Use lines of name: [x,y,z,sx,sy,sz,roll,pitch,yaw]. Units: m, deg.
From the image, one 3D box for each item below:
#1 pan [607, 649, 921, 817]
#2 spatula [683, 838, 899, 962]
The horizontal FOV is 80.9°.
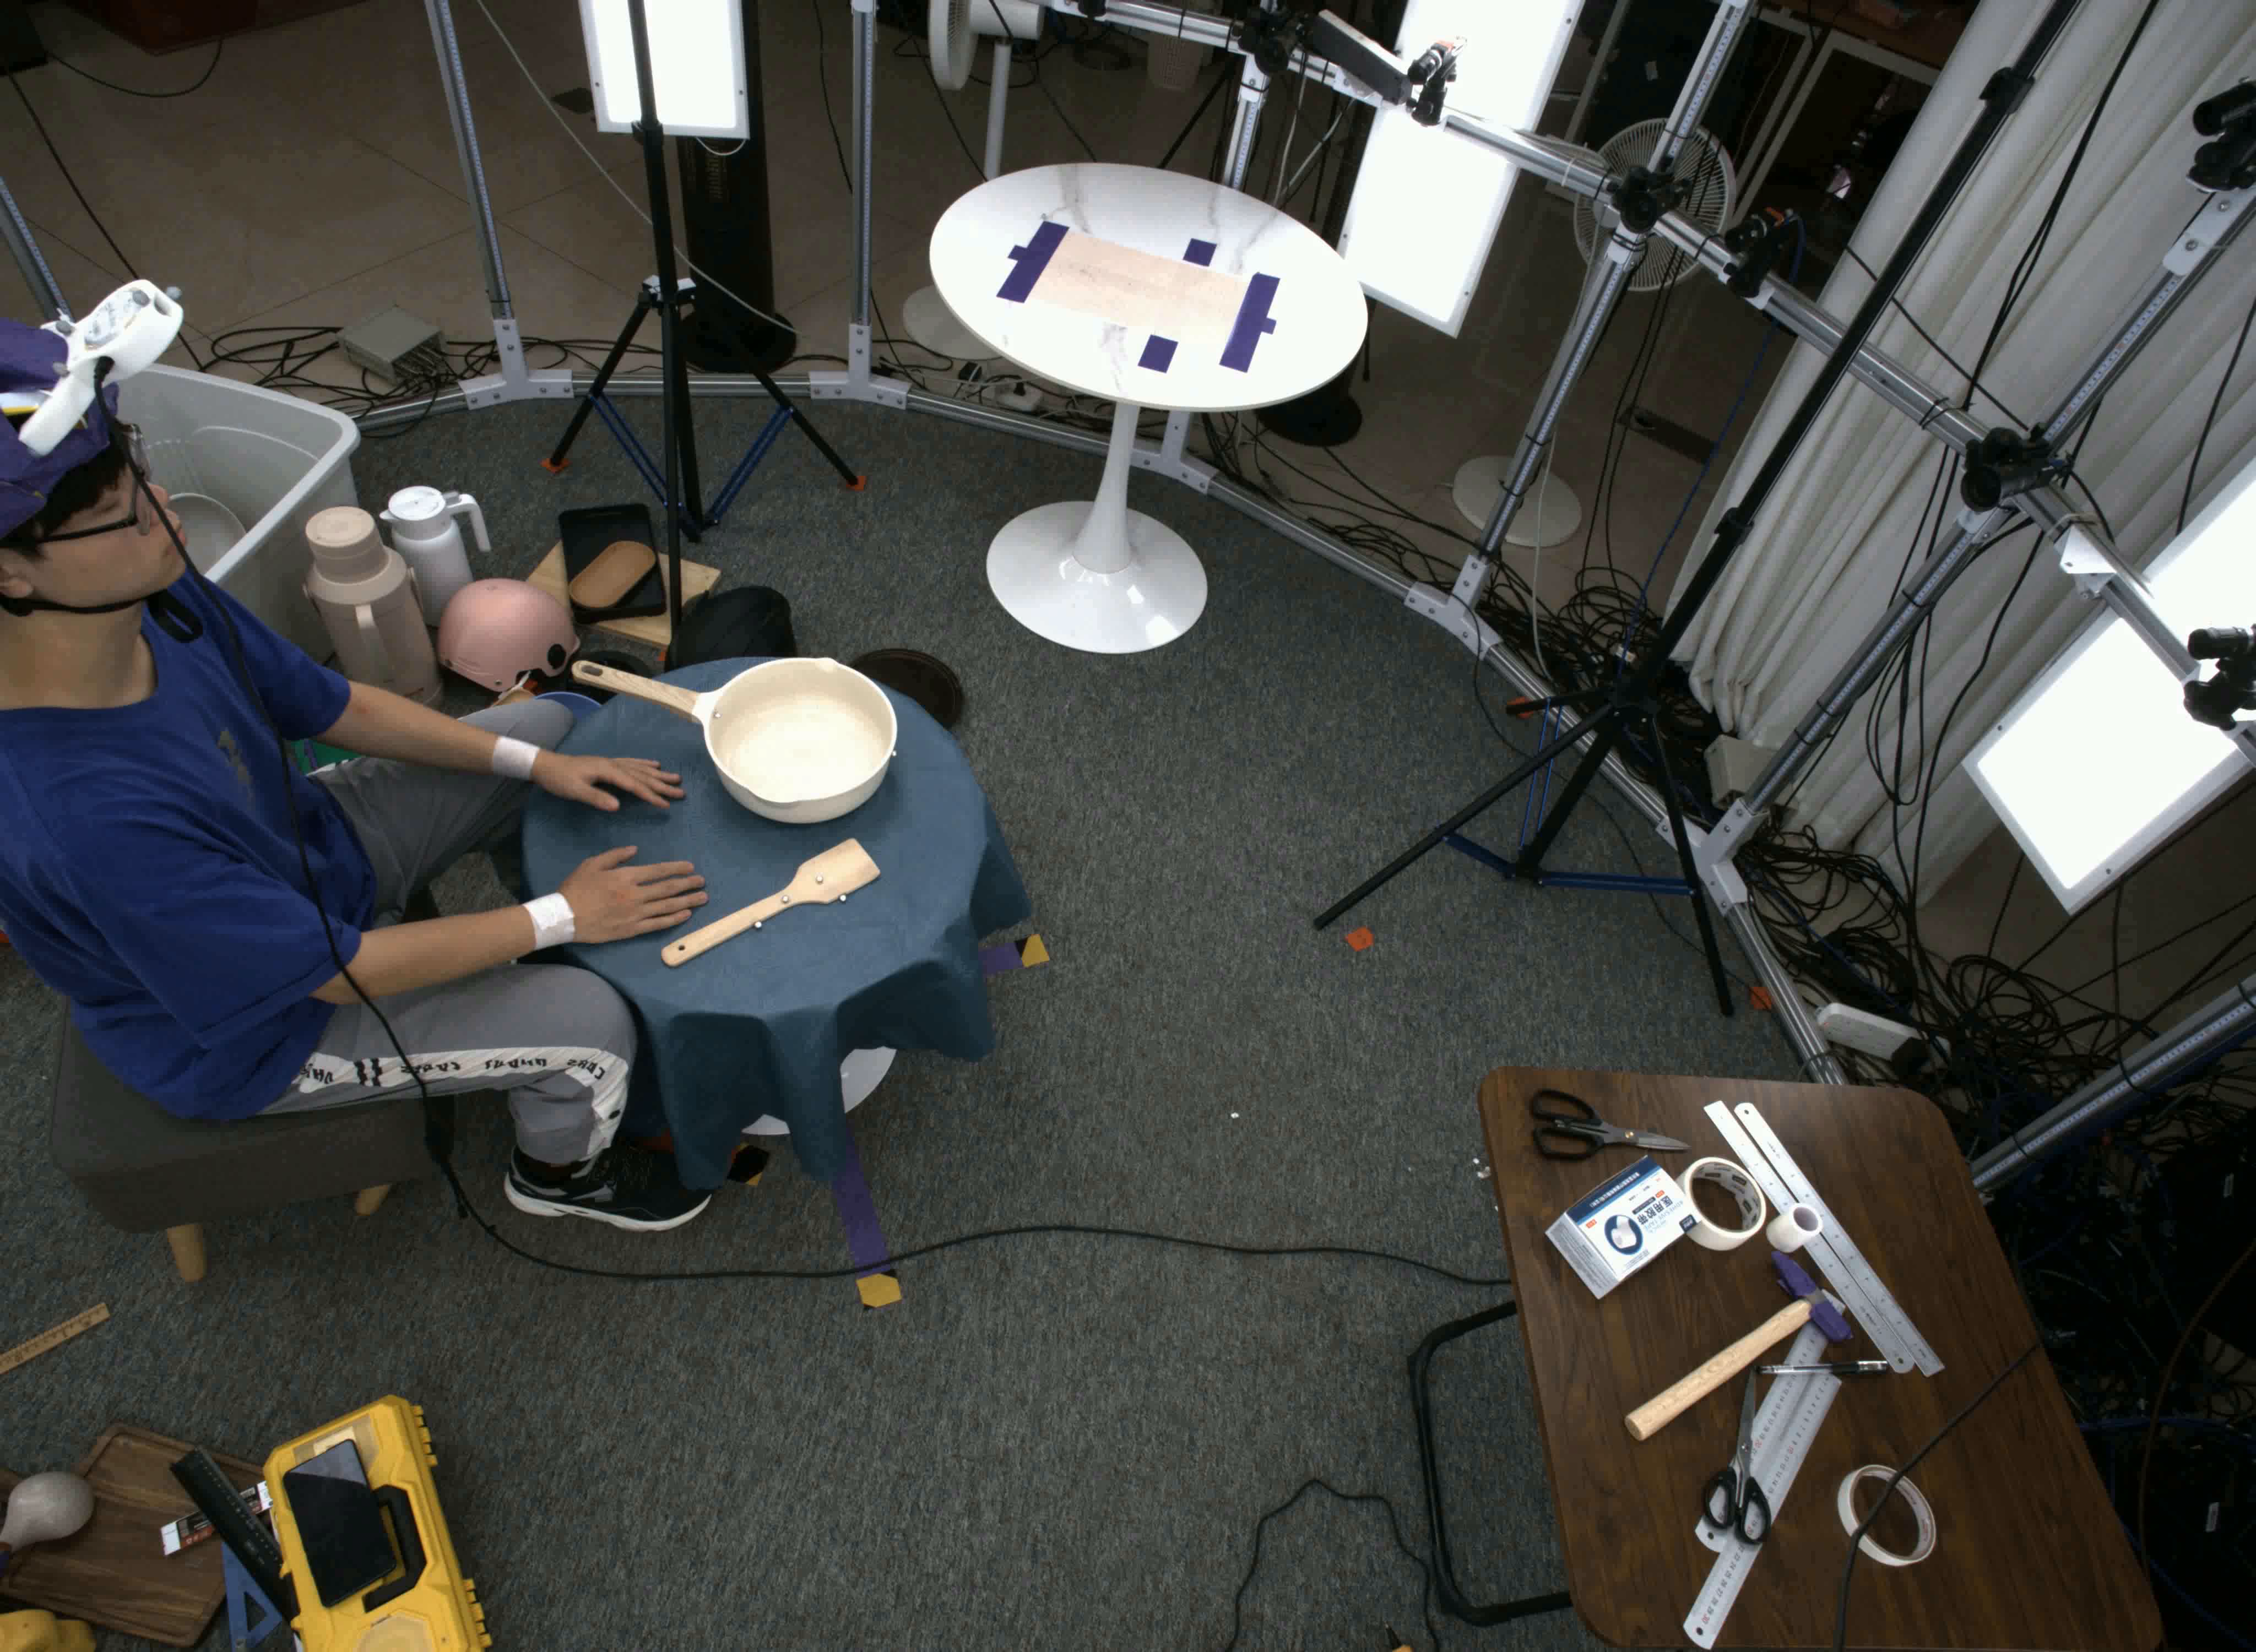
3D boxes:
pan: [-0.498,-0.143,1.757,0.432,0.104,0.259,12,54,-5]
spatula: [-0.431,0.098,1.653,0.294,0.011,0.070,-28,67,-30]
